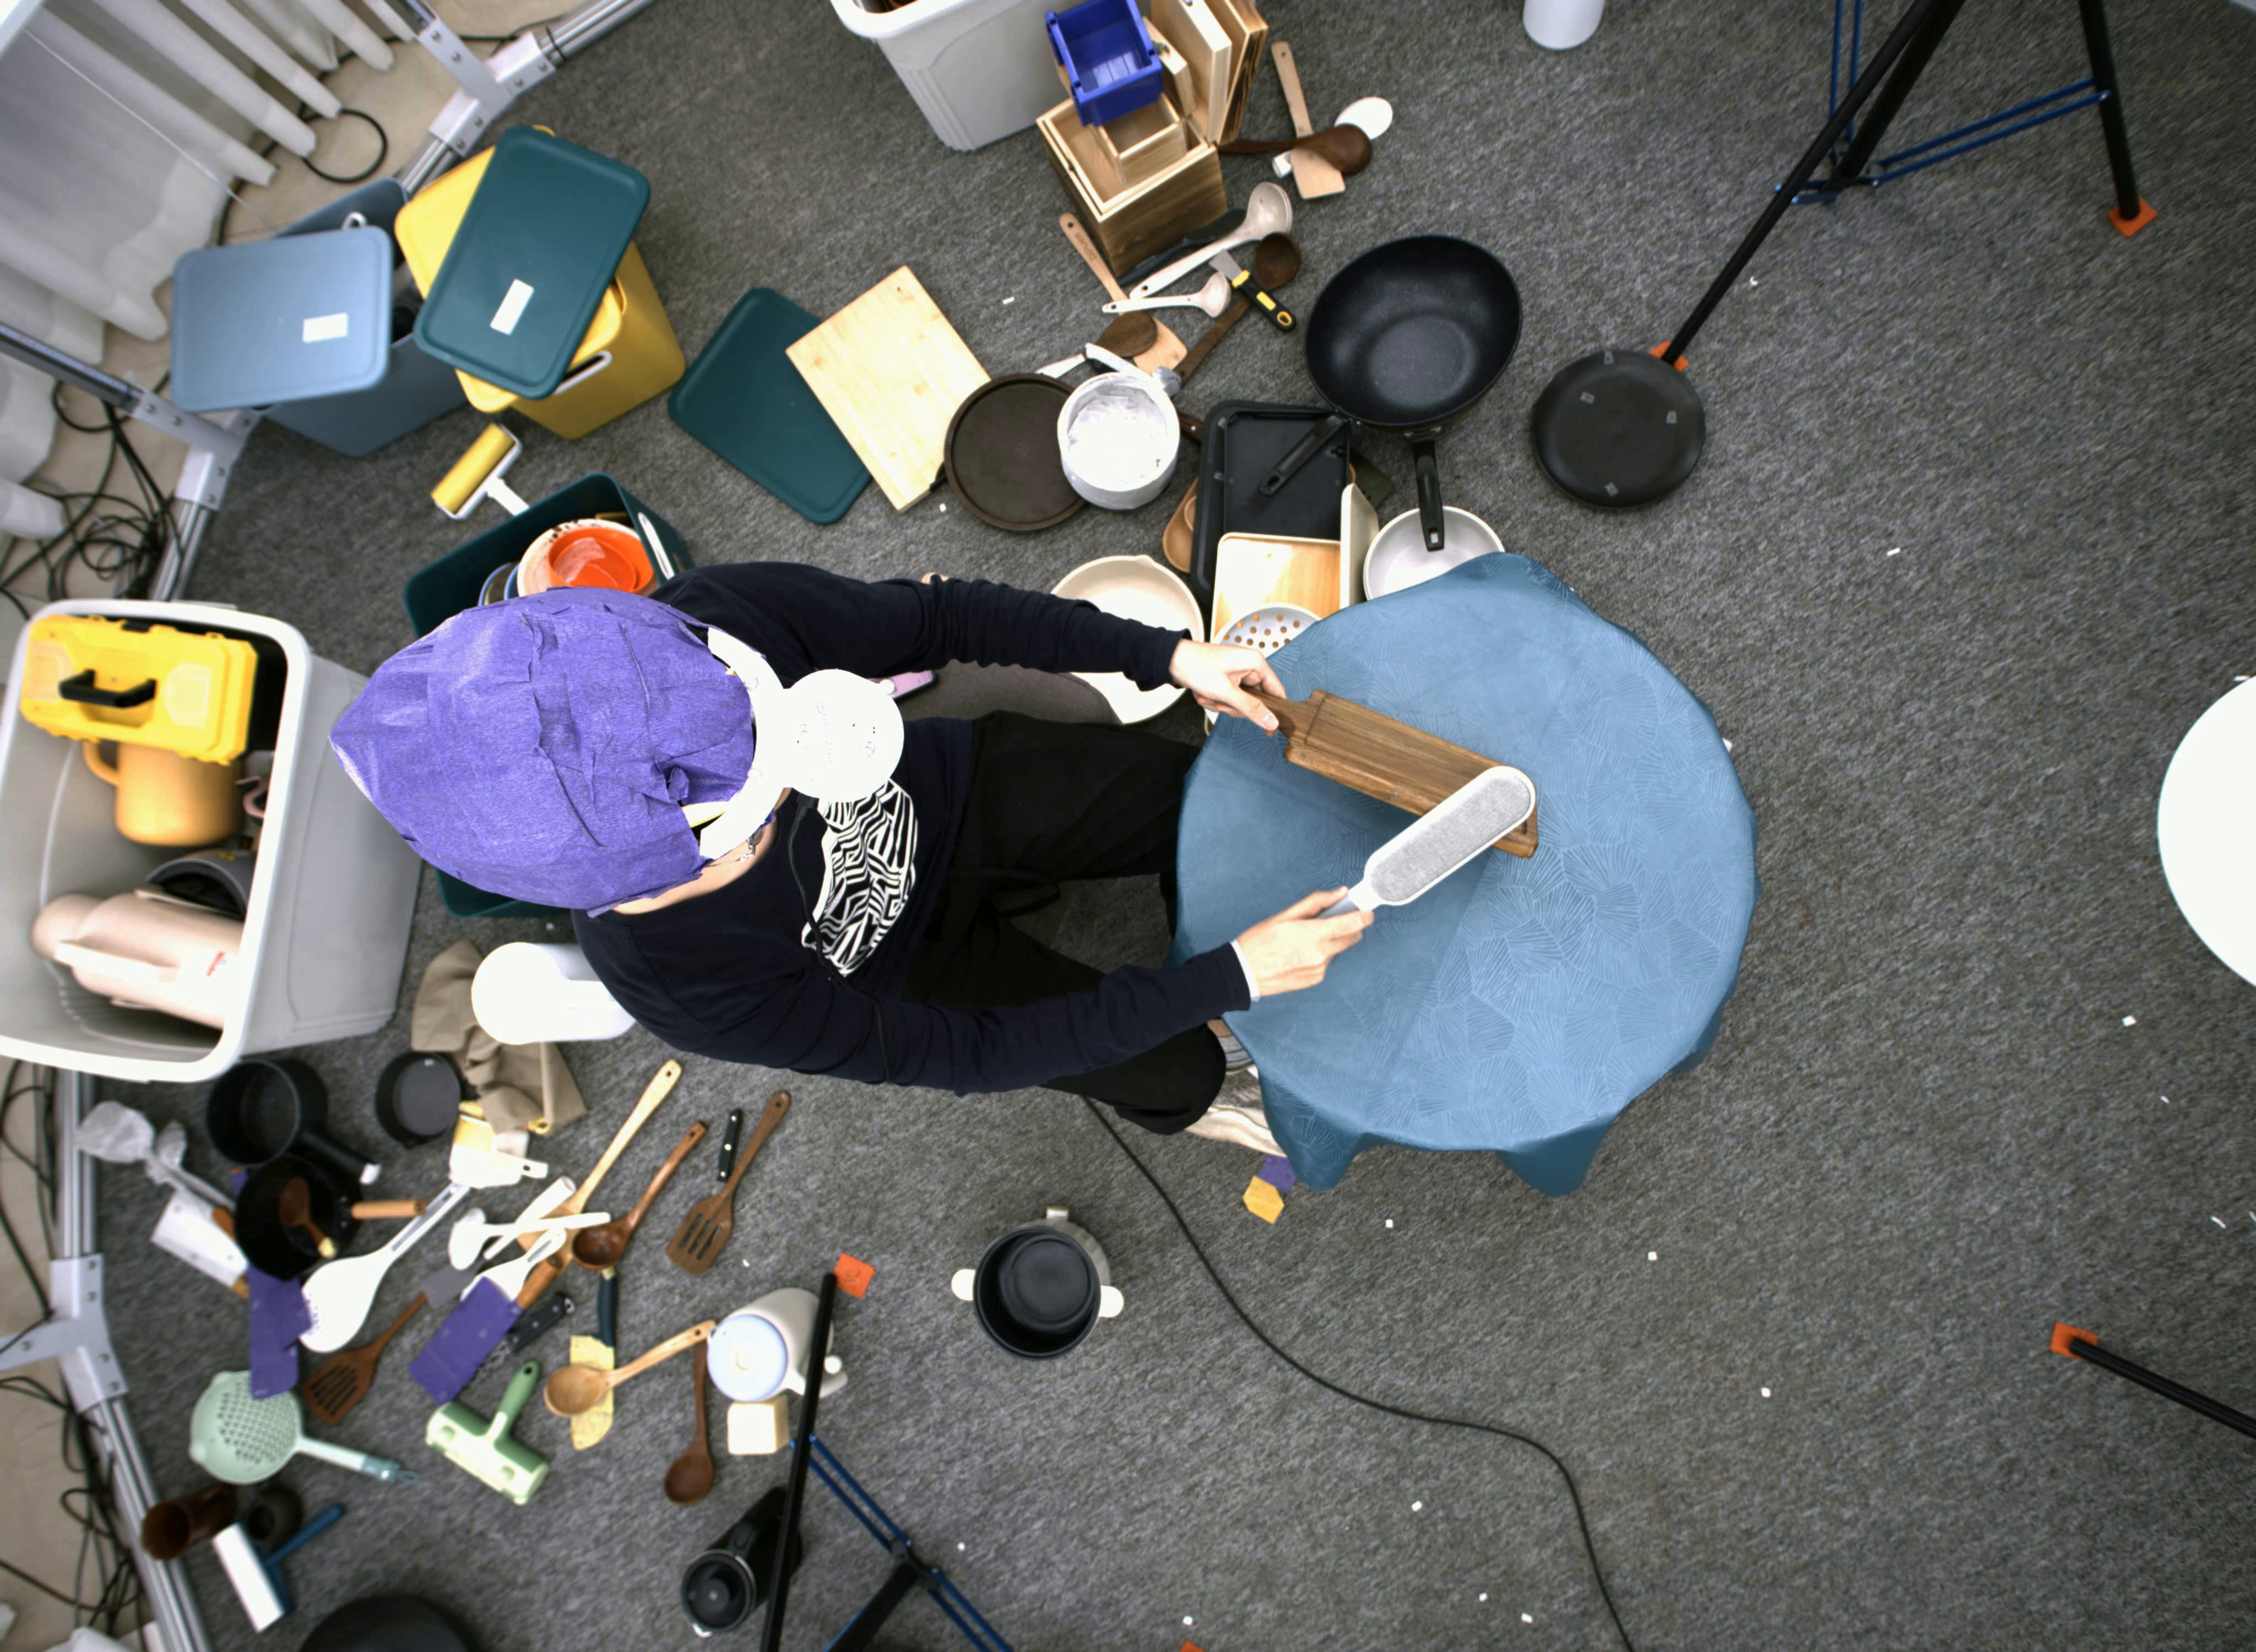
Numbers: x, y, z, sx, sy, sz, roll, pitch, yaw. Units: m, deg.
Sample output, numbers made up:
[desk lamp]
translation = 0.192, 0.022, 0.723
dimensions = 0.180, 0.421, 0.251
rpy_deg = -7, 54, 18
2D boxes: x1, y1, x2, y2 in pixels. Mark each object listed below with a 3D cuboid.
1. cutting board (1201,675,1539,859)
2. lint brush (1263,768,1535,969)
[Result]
[cutting board]
translation = 0.239, -0.077, 1.367
dimensions = 0.352, 0.197, 0.024
rpy_deg = 22, 116, 6
[lint brush]
translation = 0.246, 0.044, 1.292
dimensions = 0.314, 0.020, 0.060
rpy_deg = -38, 104, 24
